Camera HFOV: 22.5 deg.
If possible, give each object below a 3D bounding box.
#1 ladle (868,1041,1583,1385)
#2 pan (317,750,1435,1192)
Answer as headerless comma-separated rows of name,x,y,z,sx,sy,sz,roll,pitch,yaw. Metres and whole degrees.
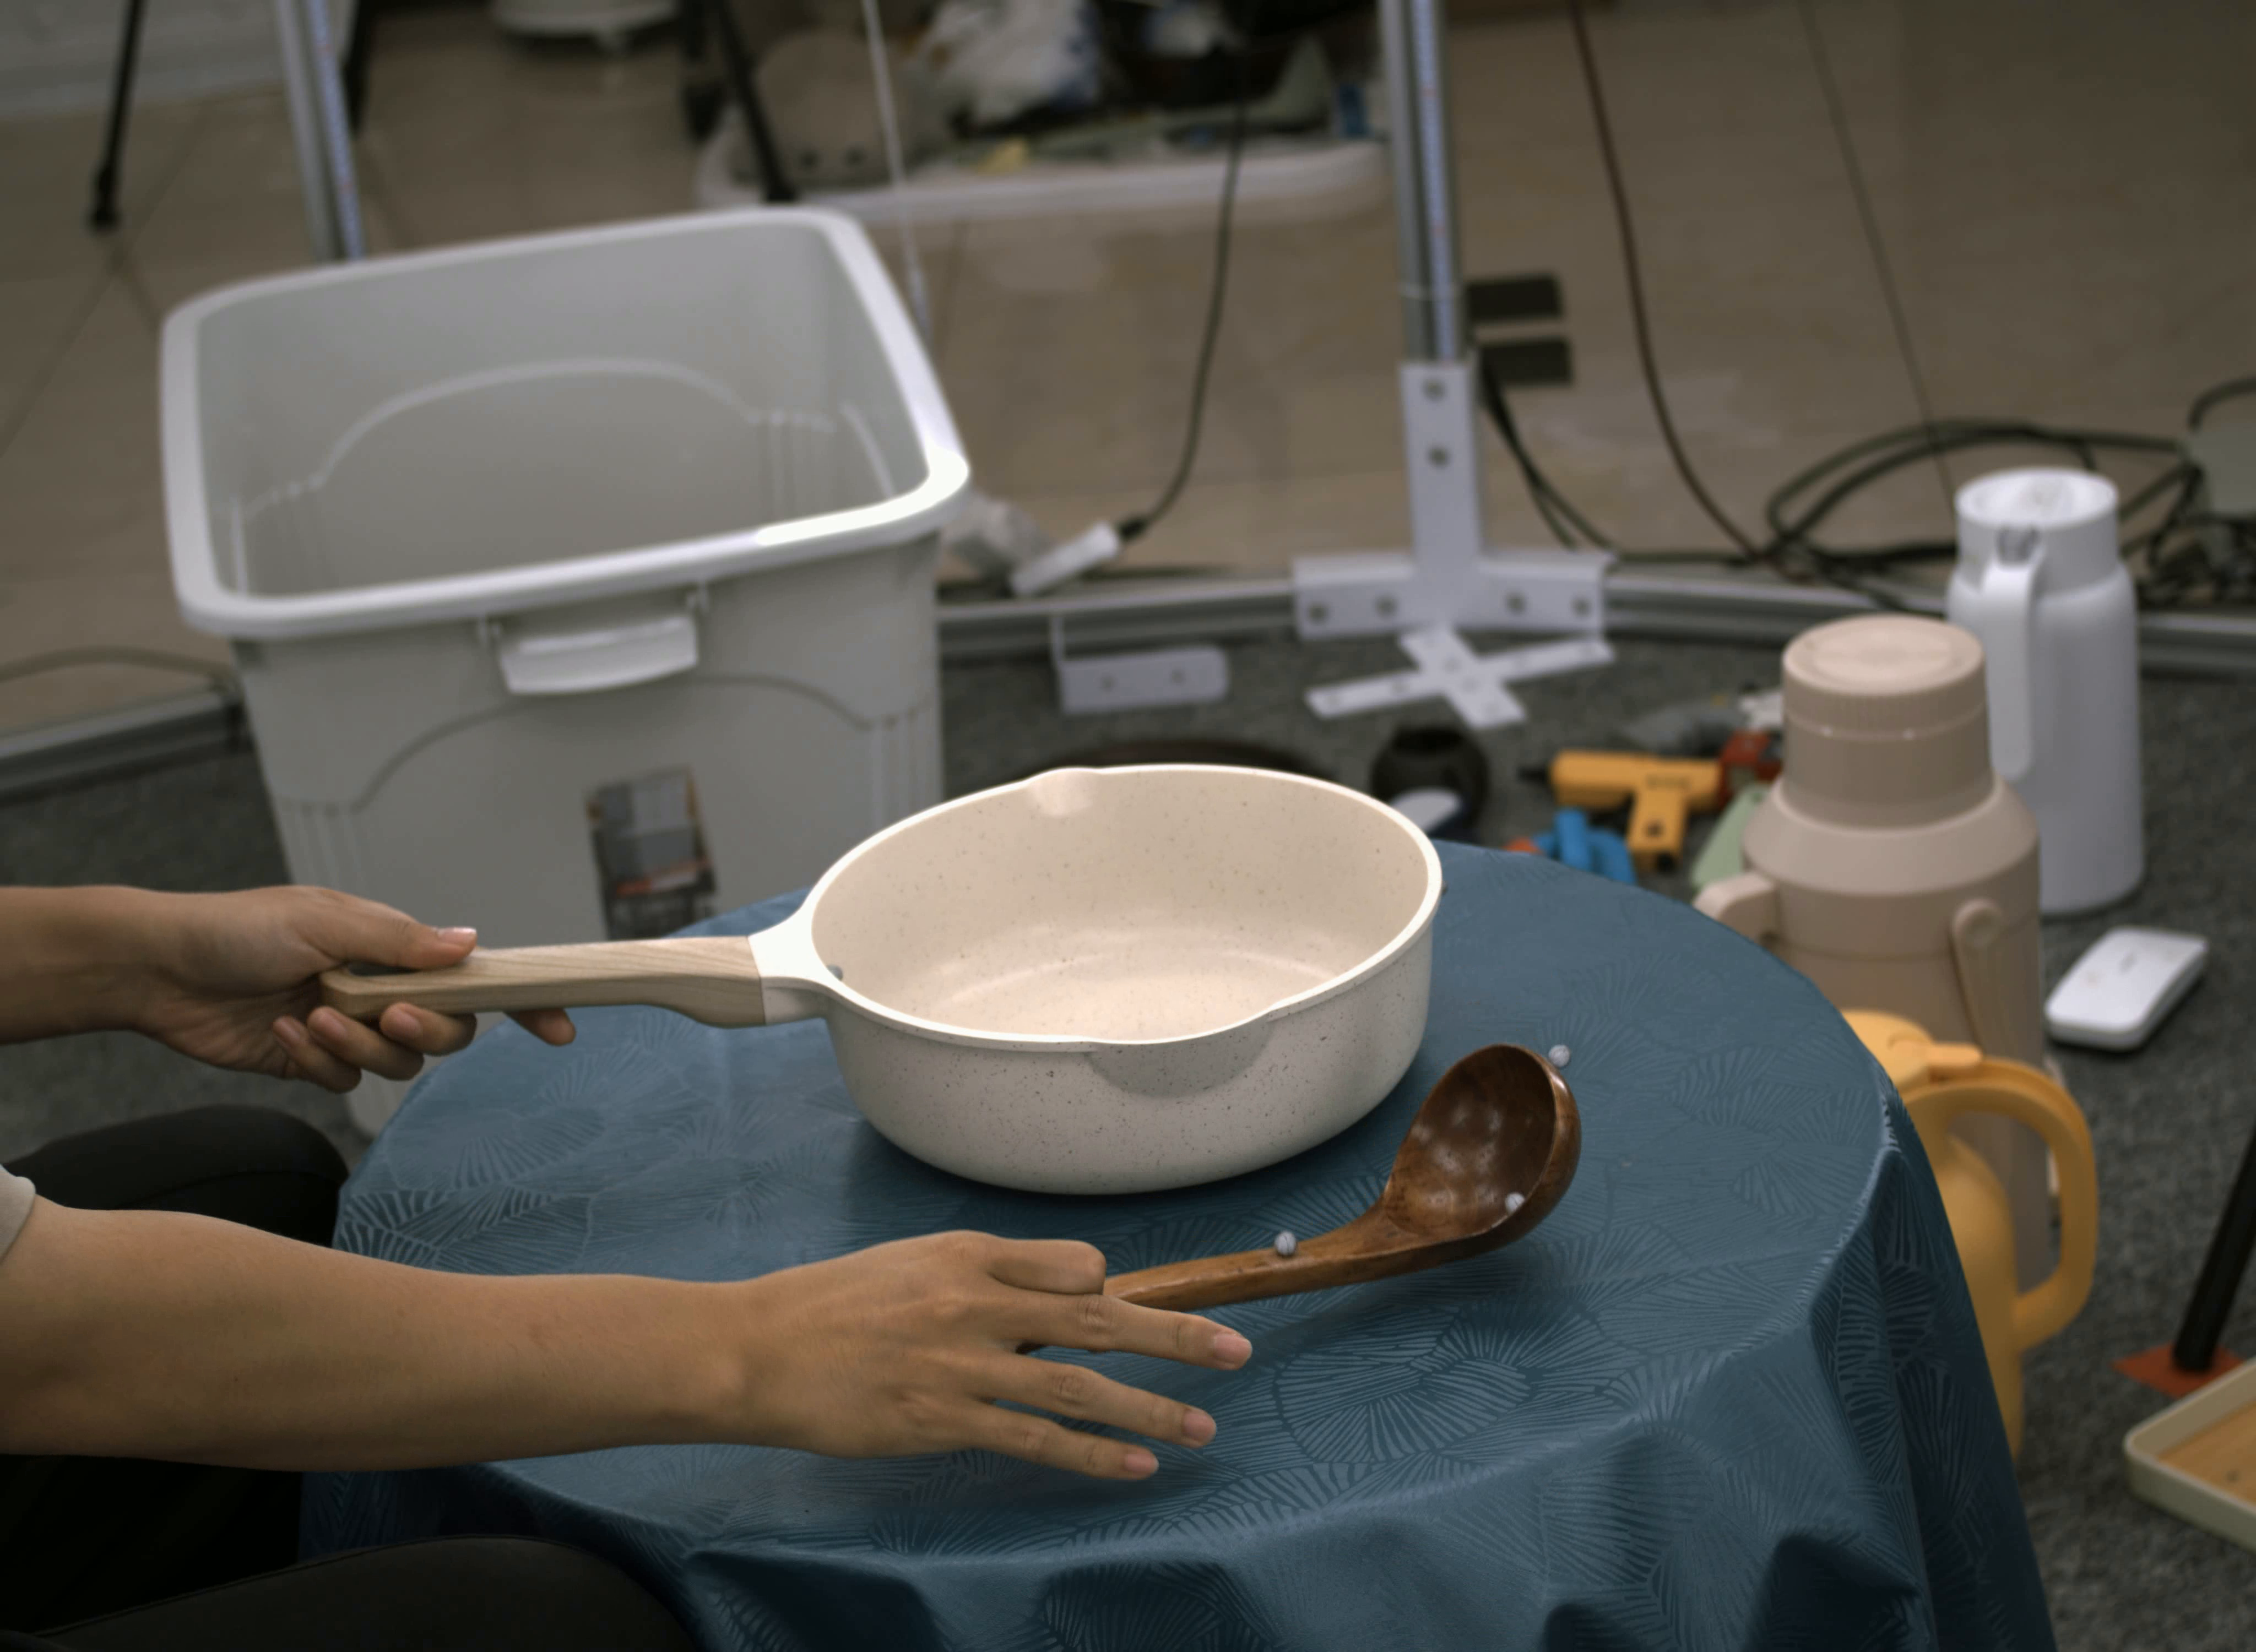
ladle,0.036,0.135,2.008,0.273,0.077,0.081,-10,21,-23
pan,-0.092,0.069,2.205,0.434,0.103,0.259,-10,26,-8
